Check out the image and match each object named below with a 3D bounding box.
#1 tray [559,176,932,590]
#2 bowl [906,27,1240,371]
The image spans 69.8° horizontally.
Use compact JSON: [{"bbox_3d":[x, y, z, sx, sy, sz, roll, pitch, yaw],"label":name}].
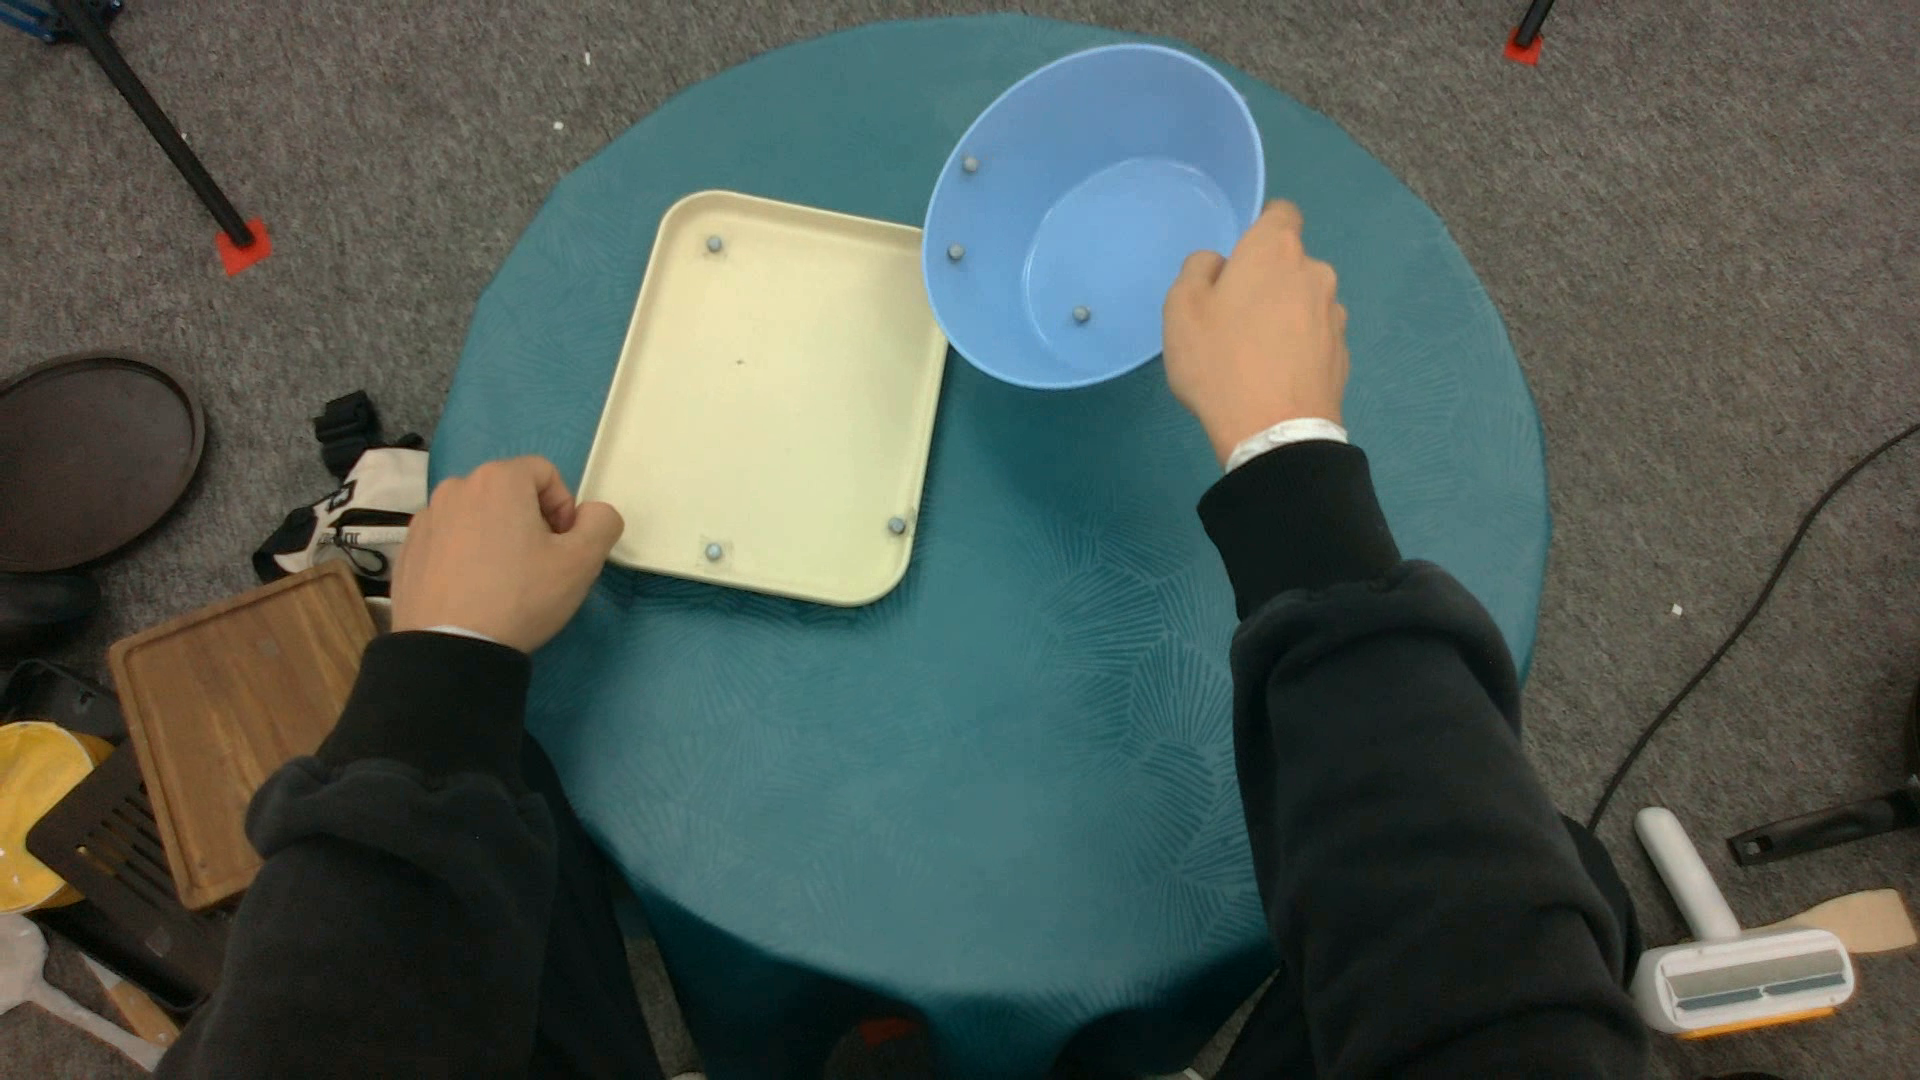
[{"bbox_3d":[-0.106,-0.089,0.737,0.171,0.017,0.240,10,63,-3],"label":"tray"},{"bbox_3d":[0.064,-0.157,0.681,0.175,0.070,0.176,-8,72,28],"label":"bowl"}]
